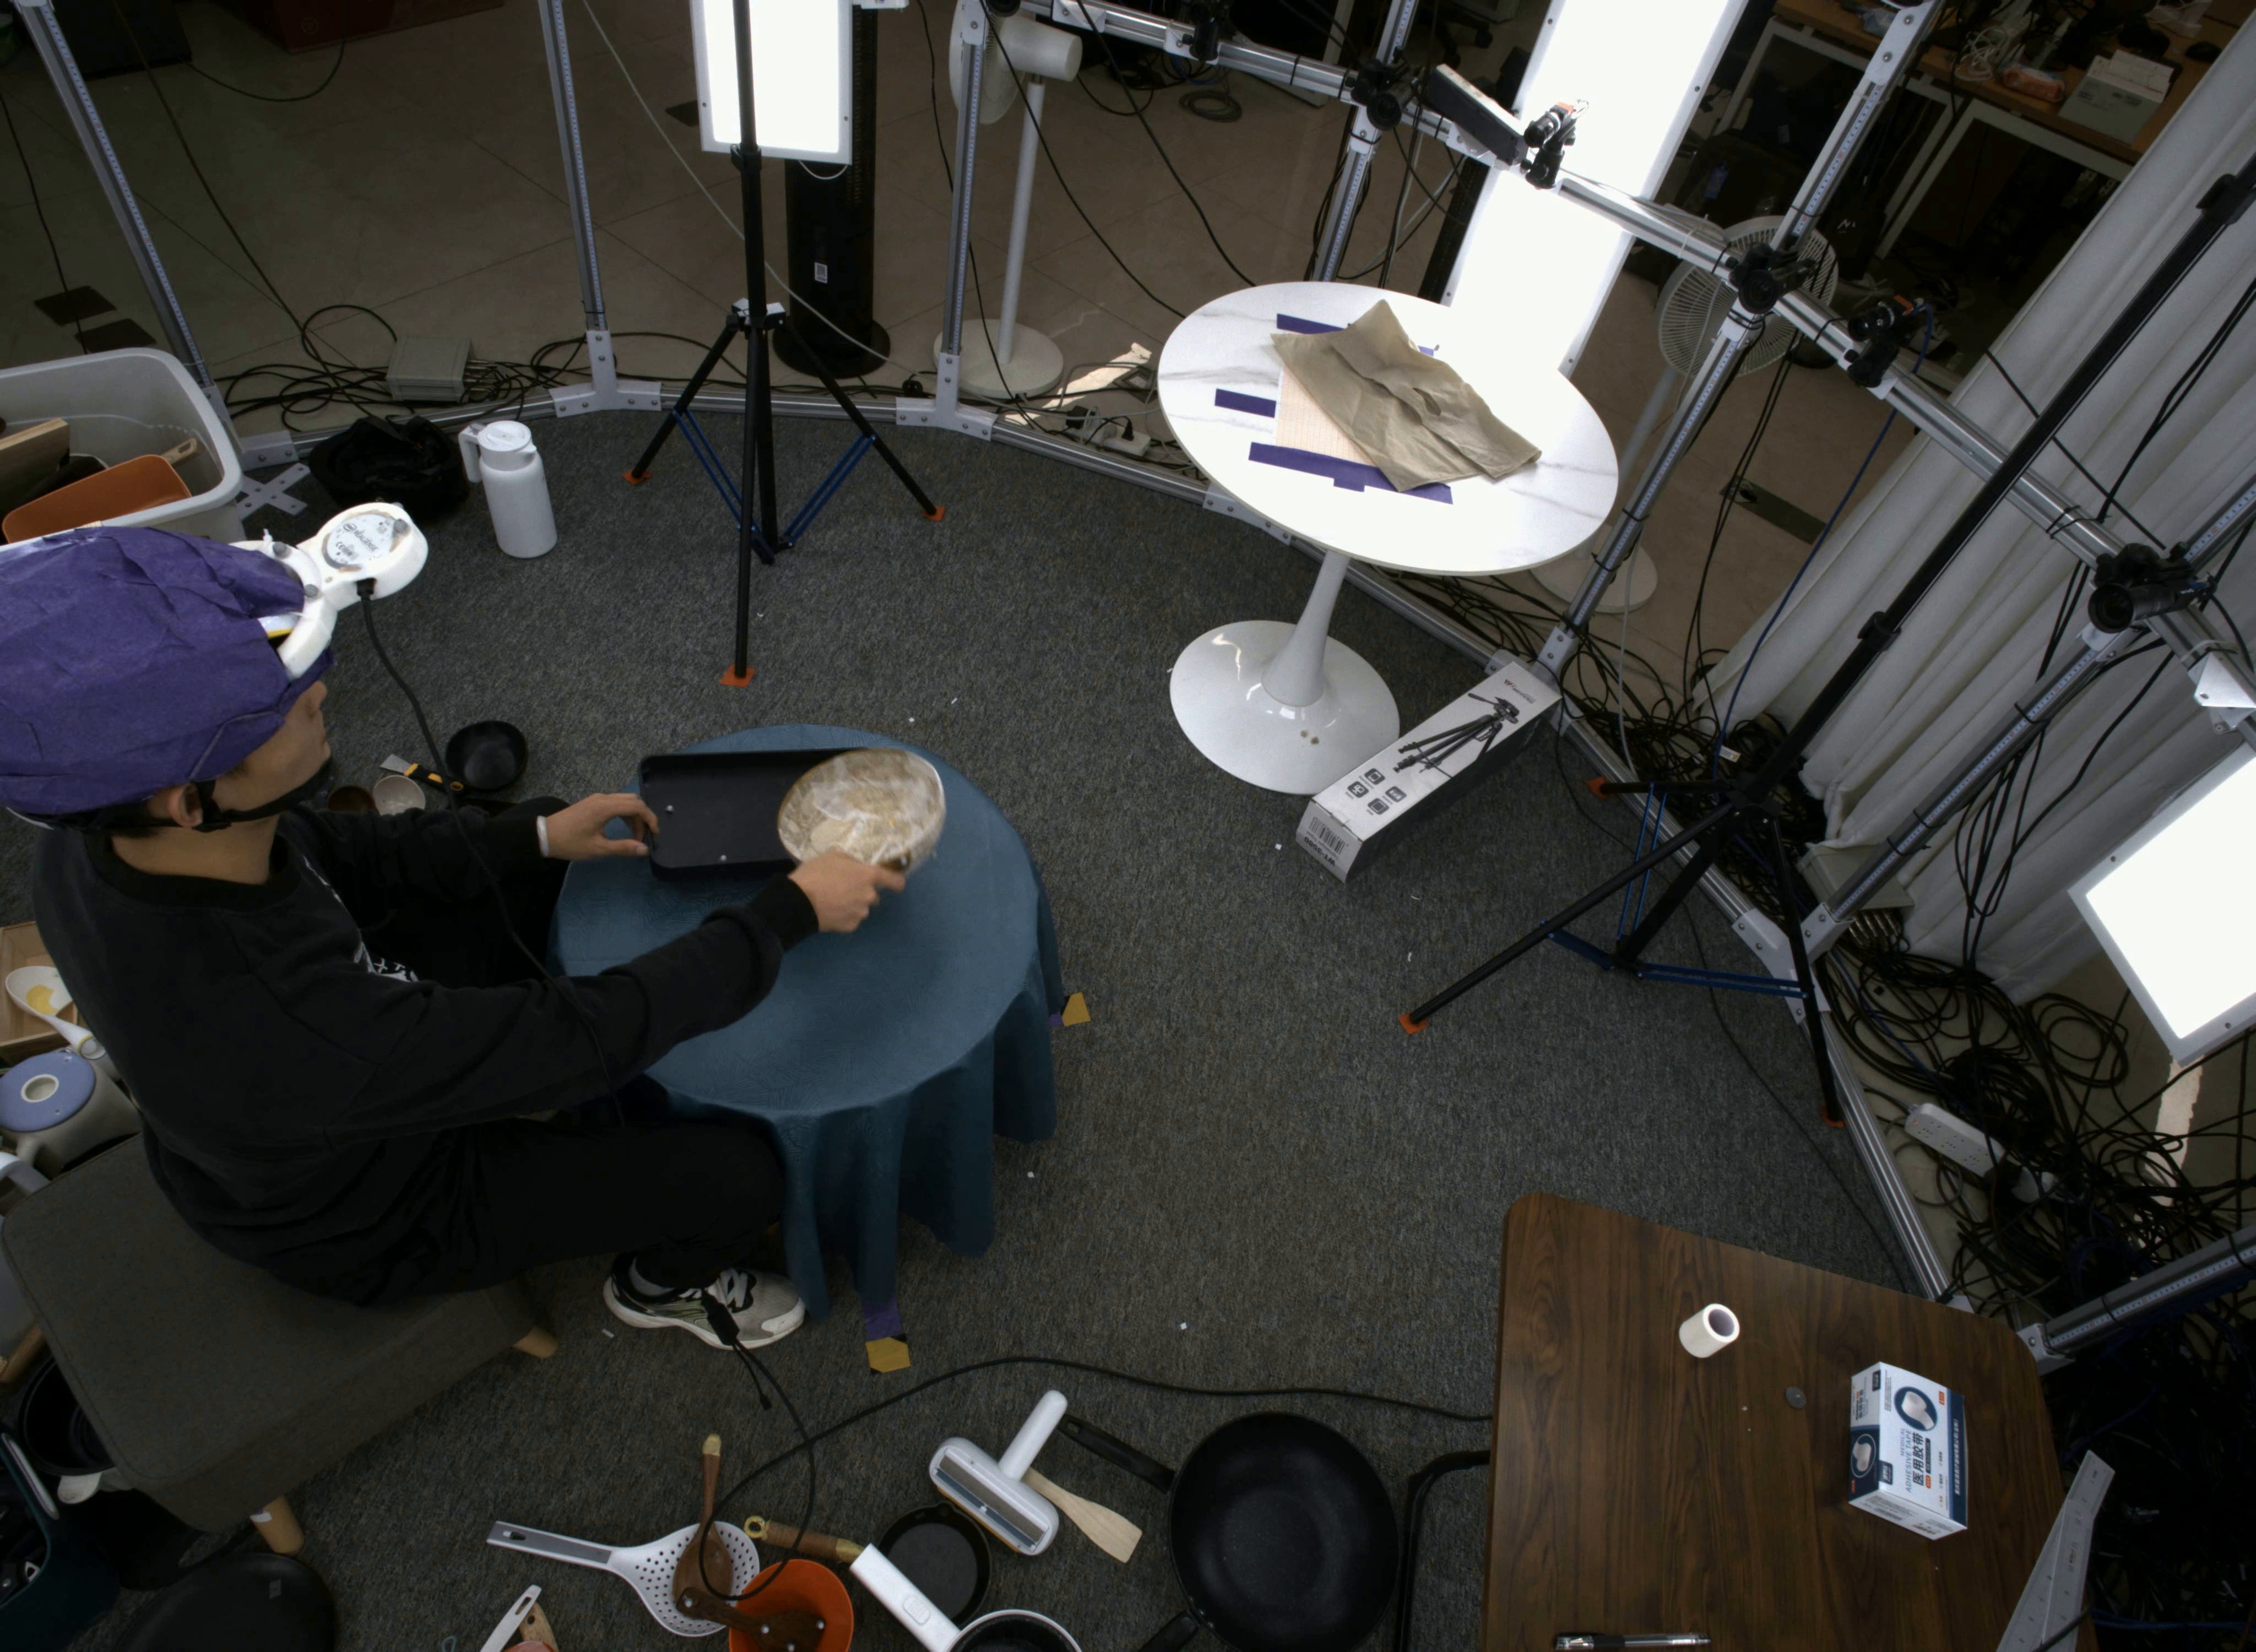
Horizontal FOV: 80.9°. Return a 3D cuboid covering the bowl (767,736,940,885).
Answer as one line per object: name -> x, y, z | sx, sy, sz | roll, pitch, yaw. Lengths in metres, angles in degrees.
bowl -> -0.322, -0.004, 1.580 | 0.211, 0.098, 0.210 | -4, 49, 7

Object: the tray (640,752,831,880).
tray -> -0.466, -0.018, 1.681 | 0.322, 0.037, 0.180 | -1, 53, -28
